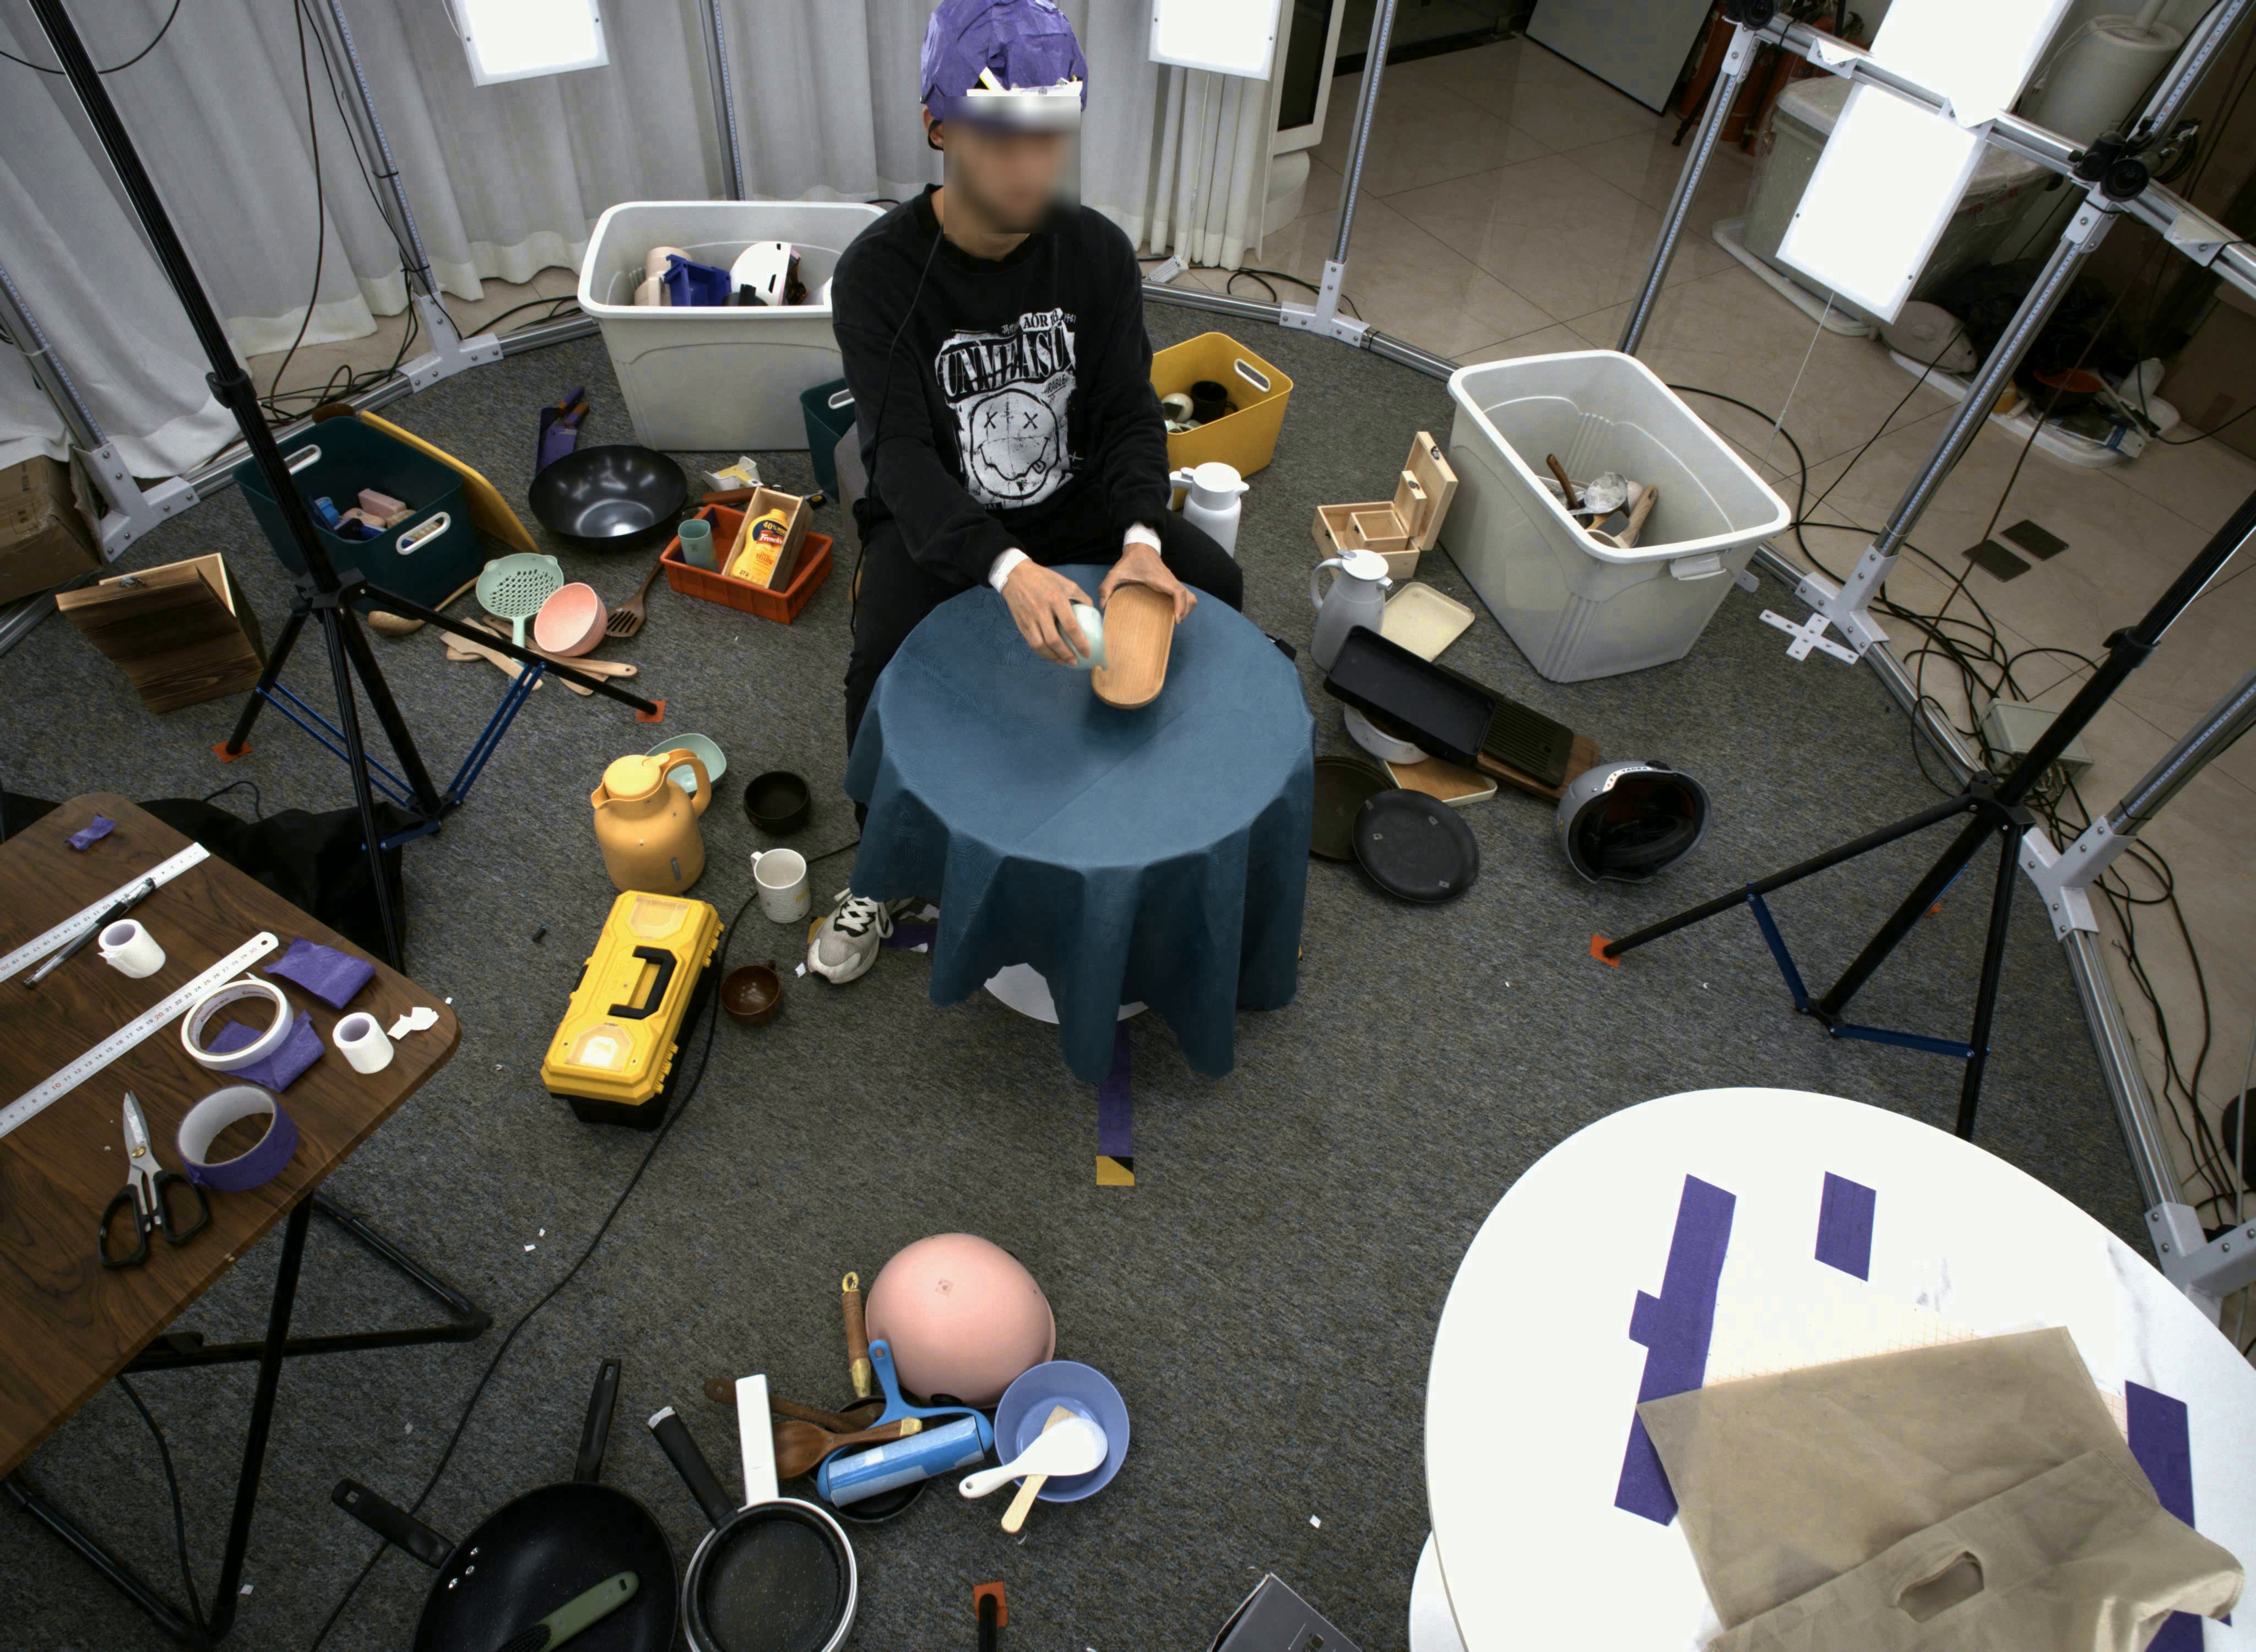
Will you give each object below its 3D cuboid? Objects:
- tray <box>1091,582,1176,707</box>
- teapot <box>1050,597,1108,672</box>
[{"bbox_3d":[0.009,-0.258,1.809,0.102,0.020,0.236,7,53,4],"label":"tray"},{"bbox_3d":[-0.065,-0.250,1.709,0.074,0.140,0.090,-7,54,-5],"label":"teapot"}]
